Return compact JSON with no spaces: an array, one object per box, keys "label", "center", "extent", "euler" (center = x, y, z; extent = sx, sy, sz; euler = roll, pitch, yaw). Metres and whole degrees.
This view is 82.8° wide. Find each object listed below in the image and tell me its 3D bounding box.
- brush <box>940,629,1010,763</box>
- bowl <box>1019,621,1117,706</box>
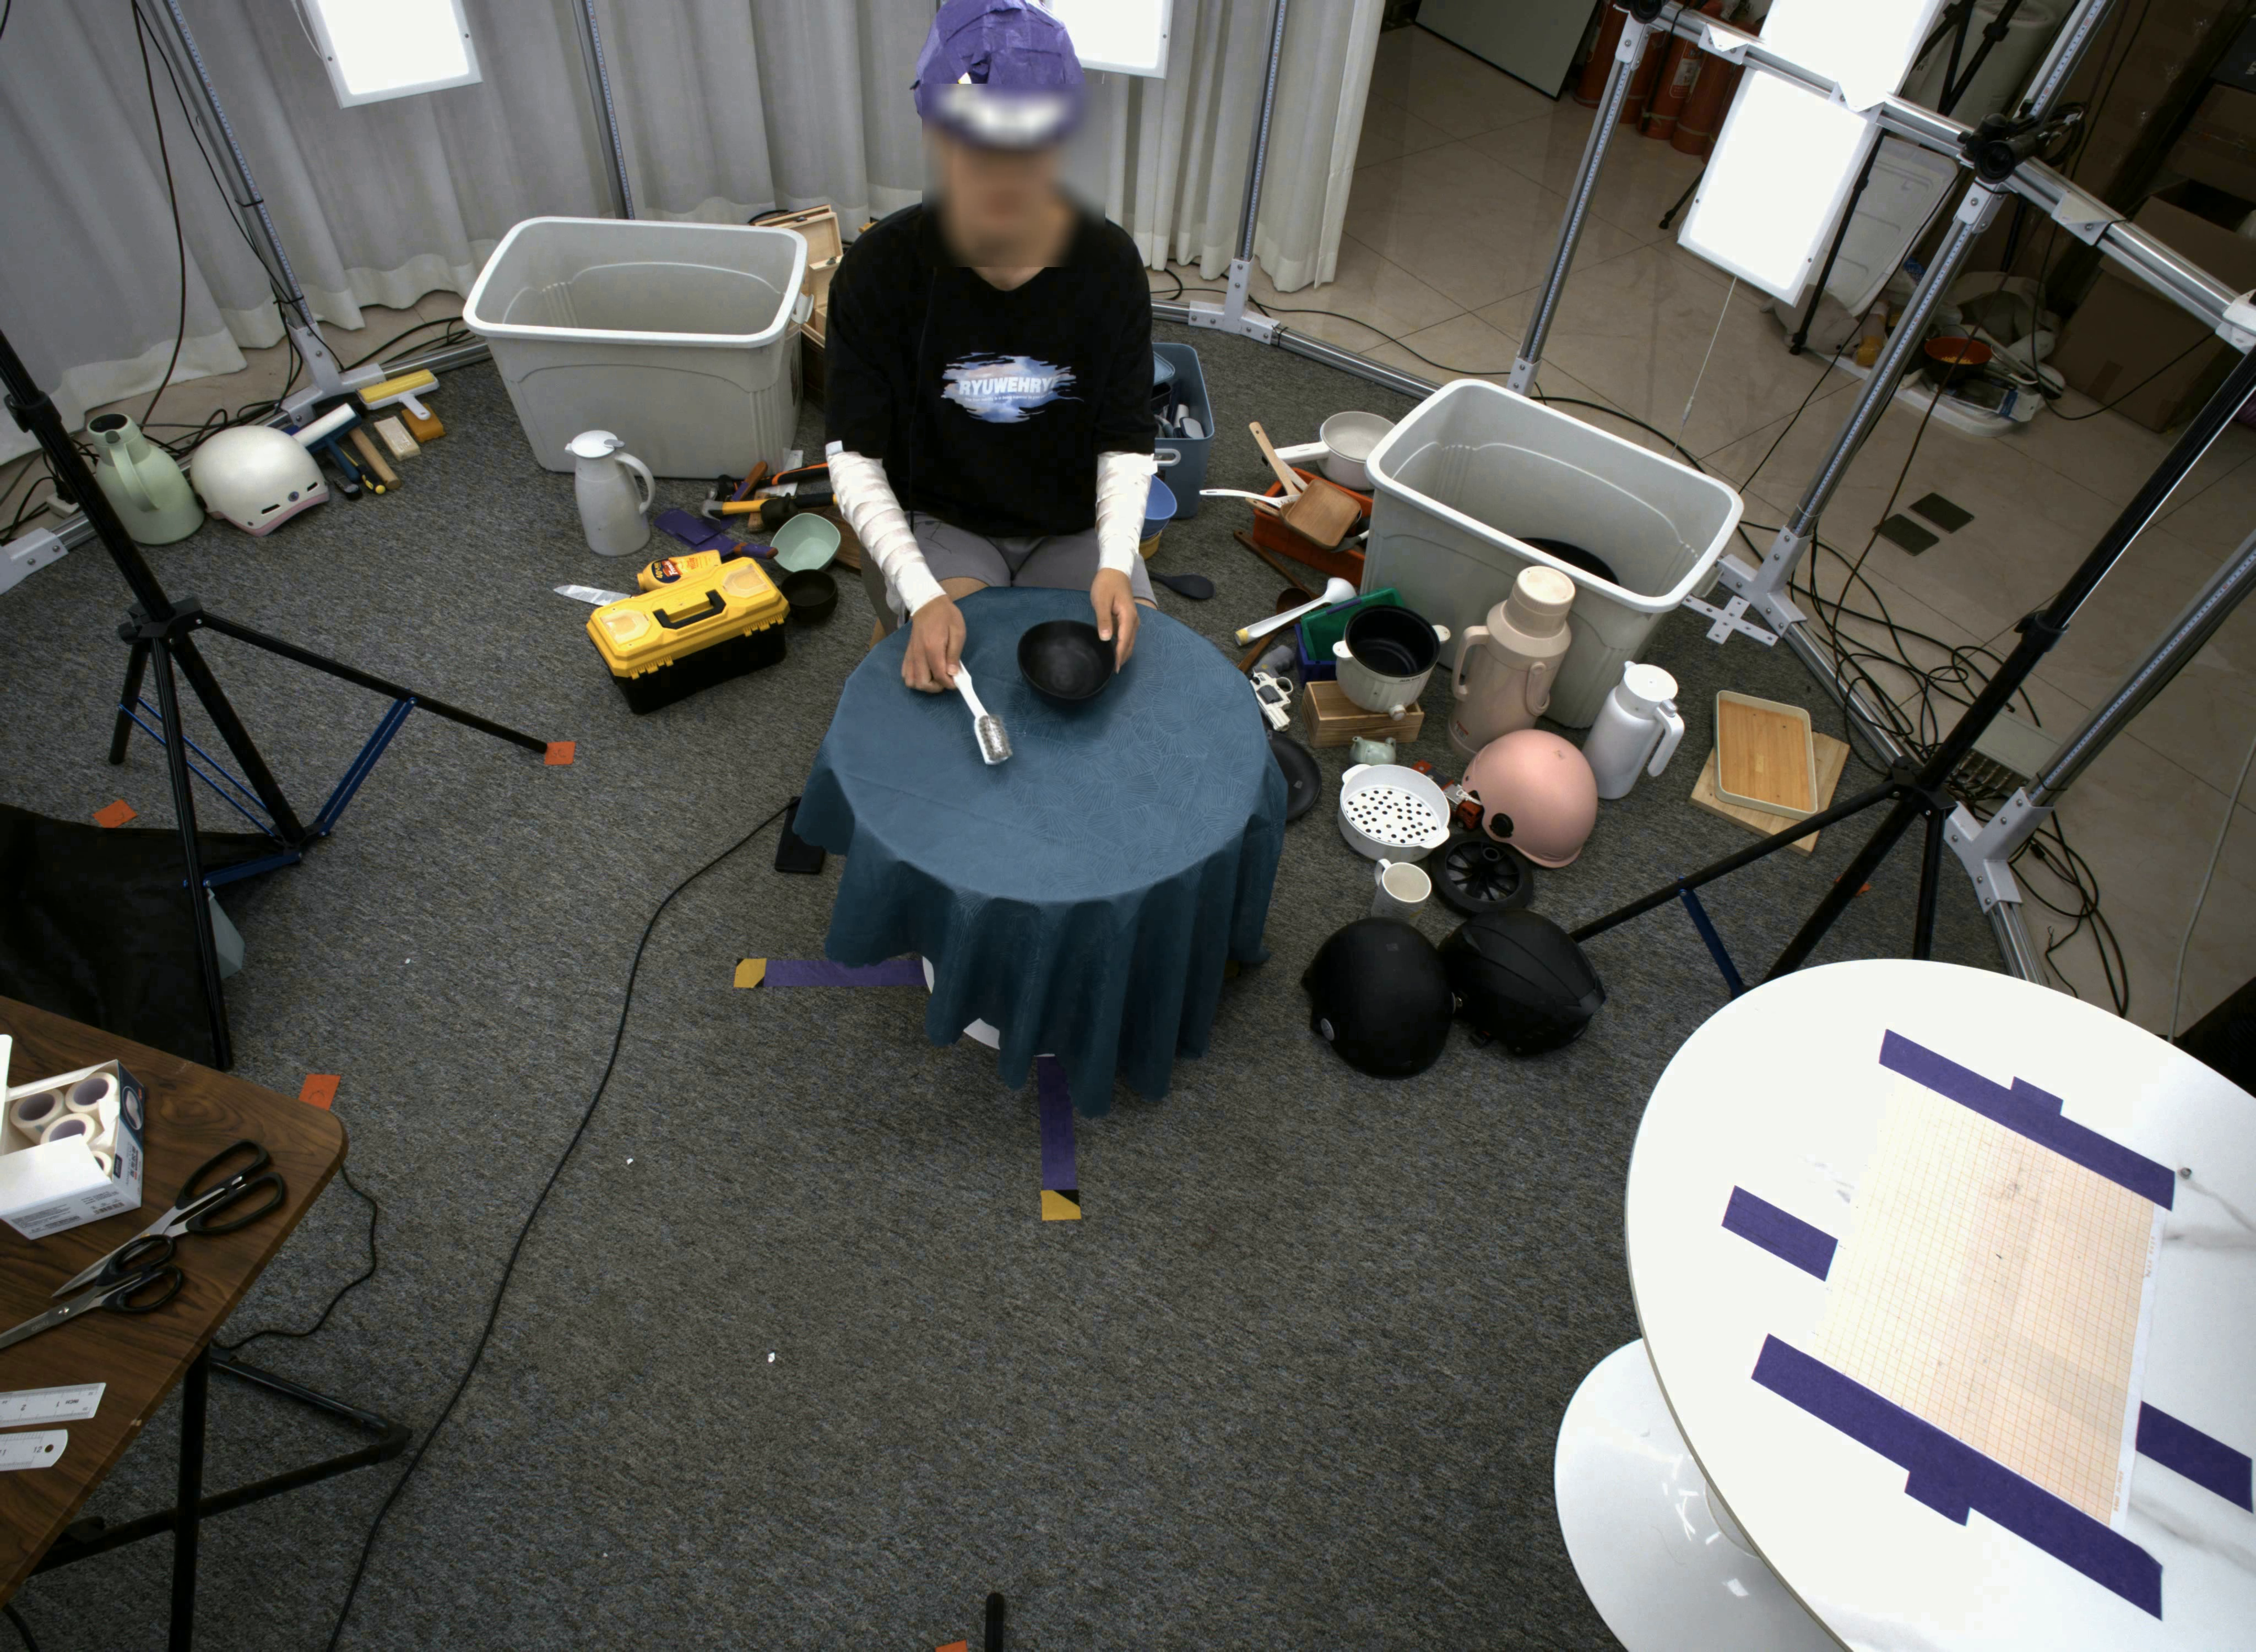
[{"label":"brush","center":[-0.213,-0.189,1.765],"extent":[0.034,0.049,0.249],"euler":[-13,60,-18]},{"label":"bowl","center":[-0.086,-0.223,1.819],"extent":[0.137,0.065,0.174],"euler":[-6,48,-9]}]
